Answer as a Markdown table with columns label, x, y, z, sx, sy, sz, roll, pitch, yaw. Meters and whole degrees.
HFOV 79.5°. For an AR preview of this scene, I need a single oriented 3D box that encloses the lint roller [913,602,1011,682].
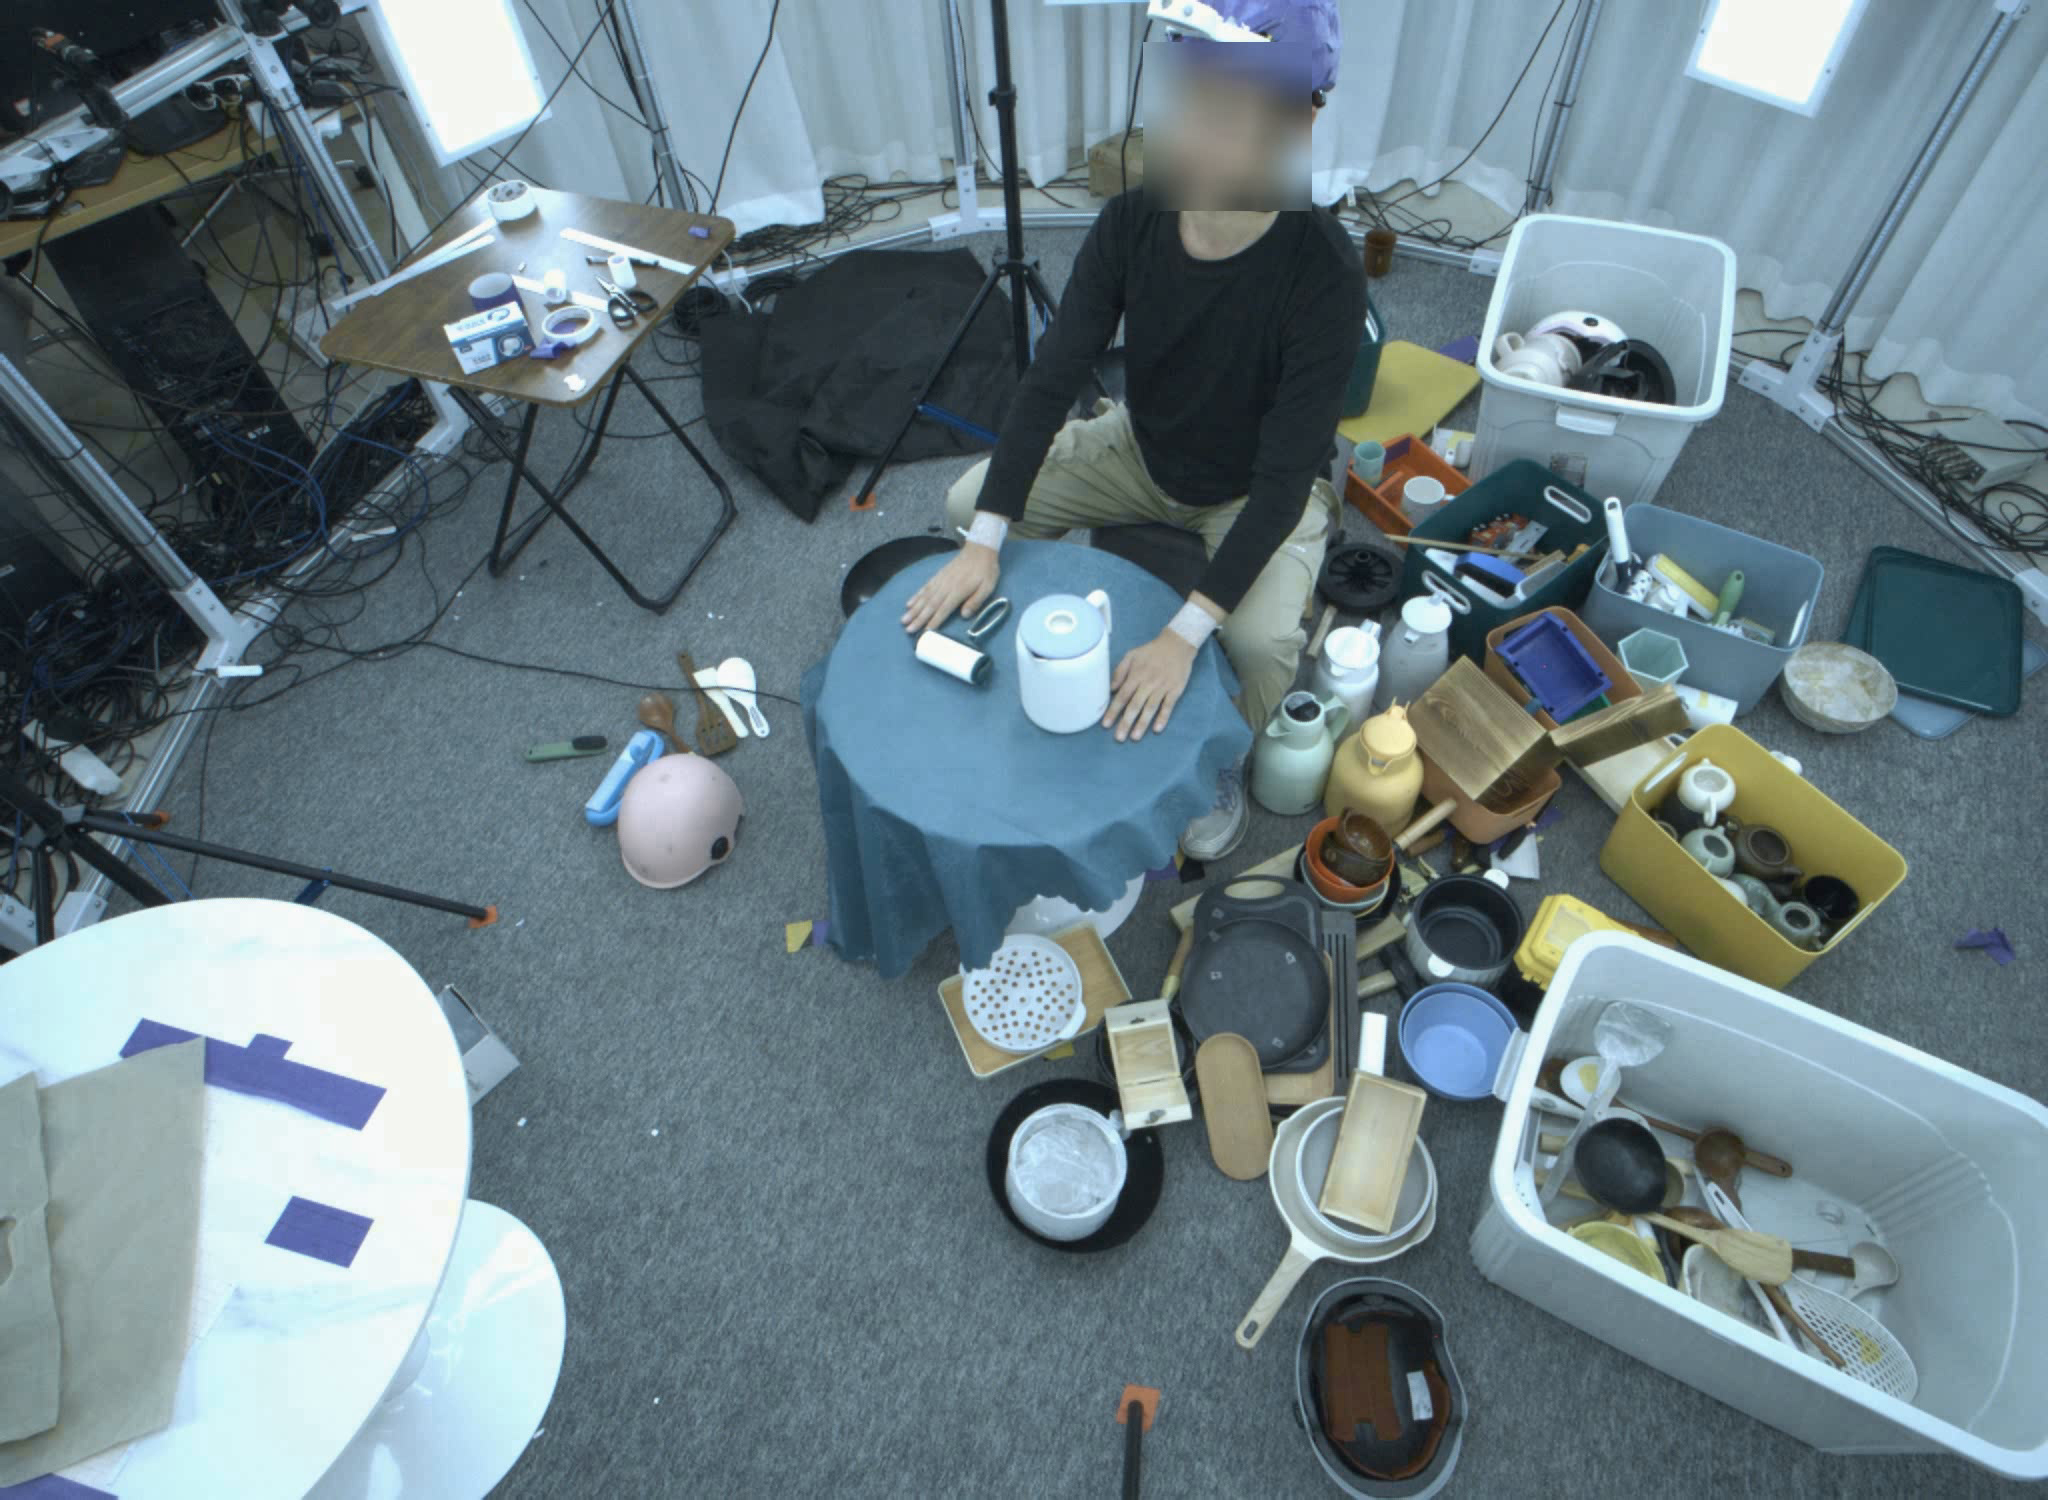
| label | x | y | z | sx | sy | sz | roll | pitch | yaw |
| --- | --- | --- | --- | --- | --- | --- | --- | --- | --- |
| lint roller | -0.075 | -0.187 | 1.898 | 0.132 | 0.049 | 0.181 | 26 | 56 | 19 |

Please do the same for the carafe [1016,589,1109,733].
| label | x | y | z | sx | sy | sz | roll | pitch | yaw |
| --- | --- | --- | --- | --- | --- | --- | --- | --- | --- |
| carafe | 0.070 | -0.140 | 1.779 | 0.130 | 0.184 | 0.192 | 26 | 58 | 19 |
